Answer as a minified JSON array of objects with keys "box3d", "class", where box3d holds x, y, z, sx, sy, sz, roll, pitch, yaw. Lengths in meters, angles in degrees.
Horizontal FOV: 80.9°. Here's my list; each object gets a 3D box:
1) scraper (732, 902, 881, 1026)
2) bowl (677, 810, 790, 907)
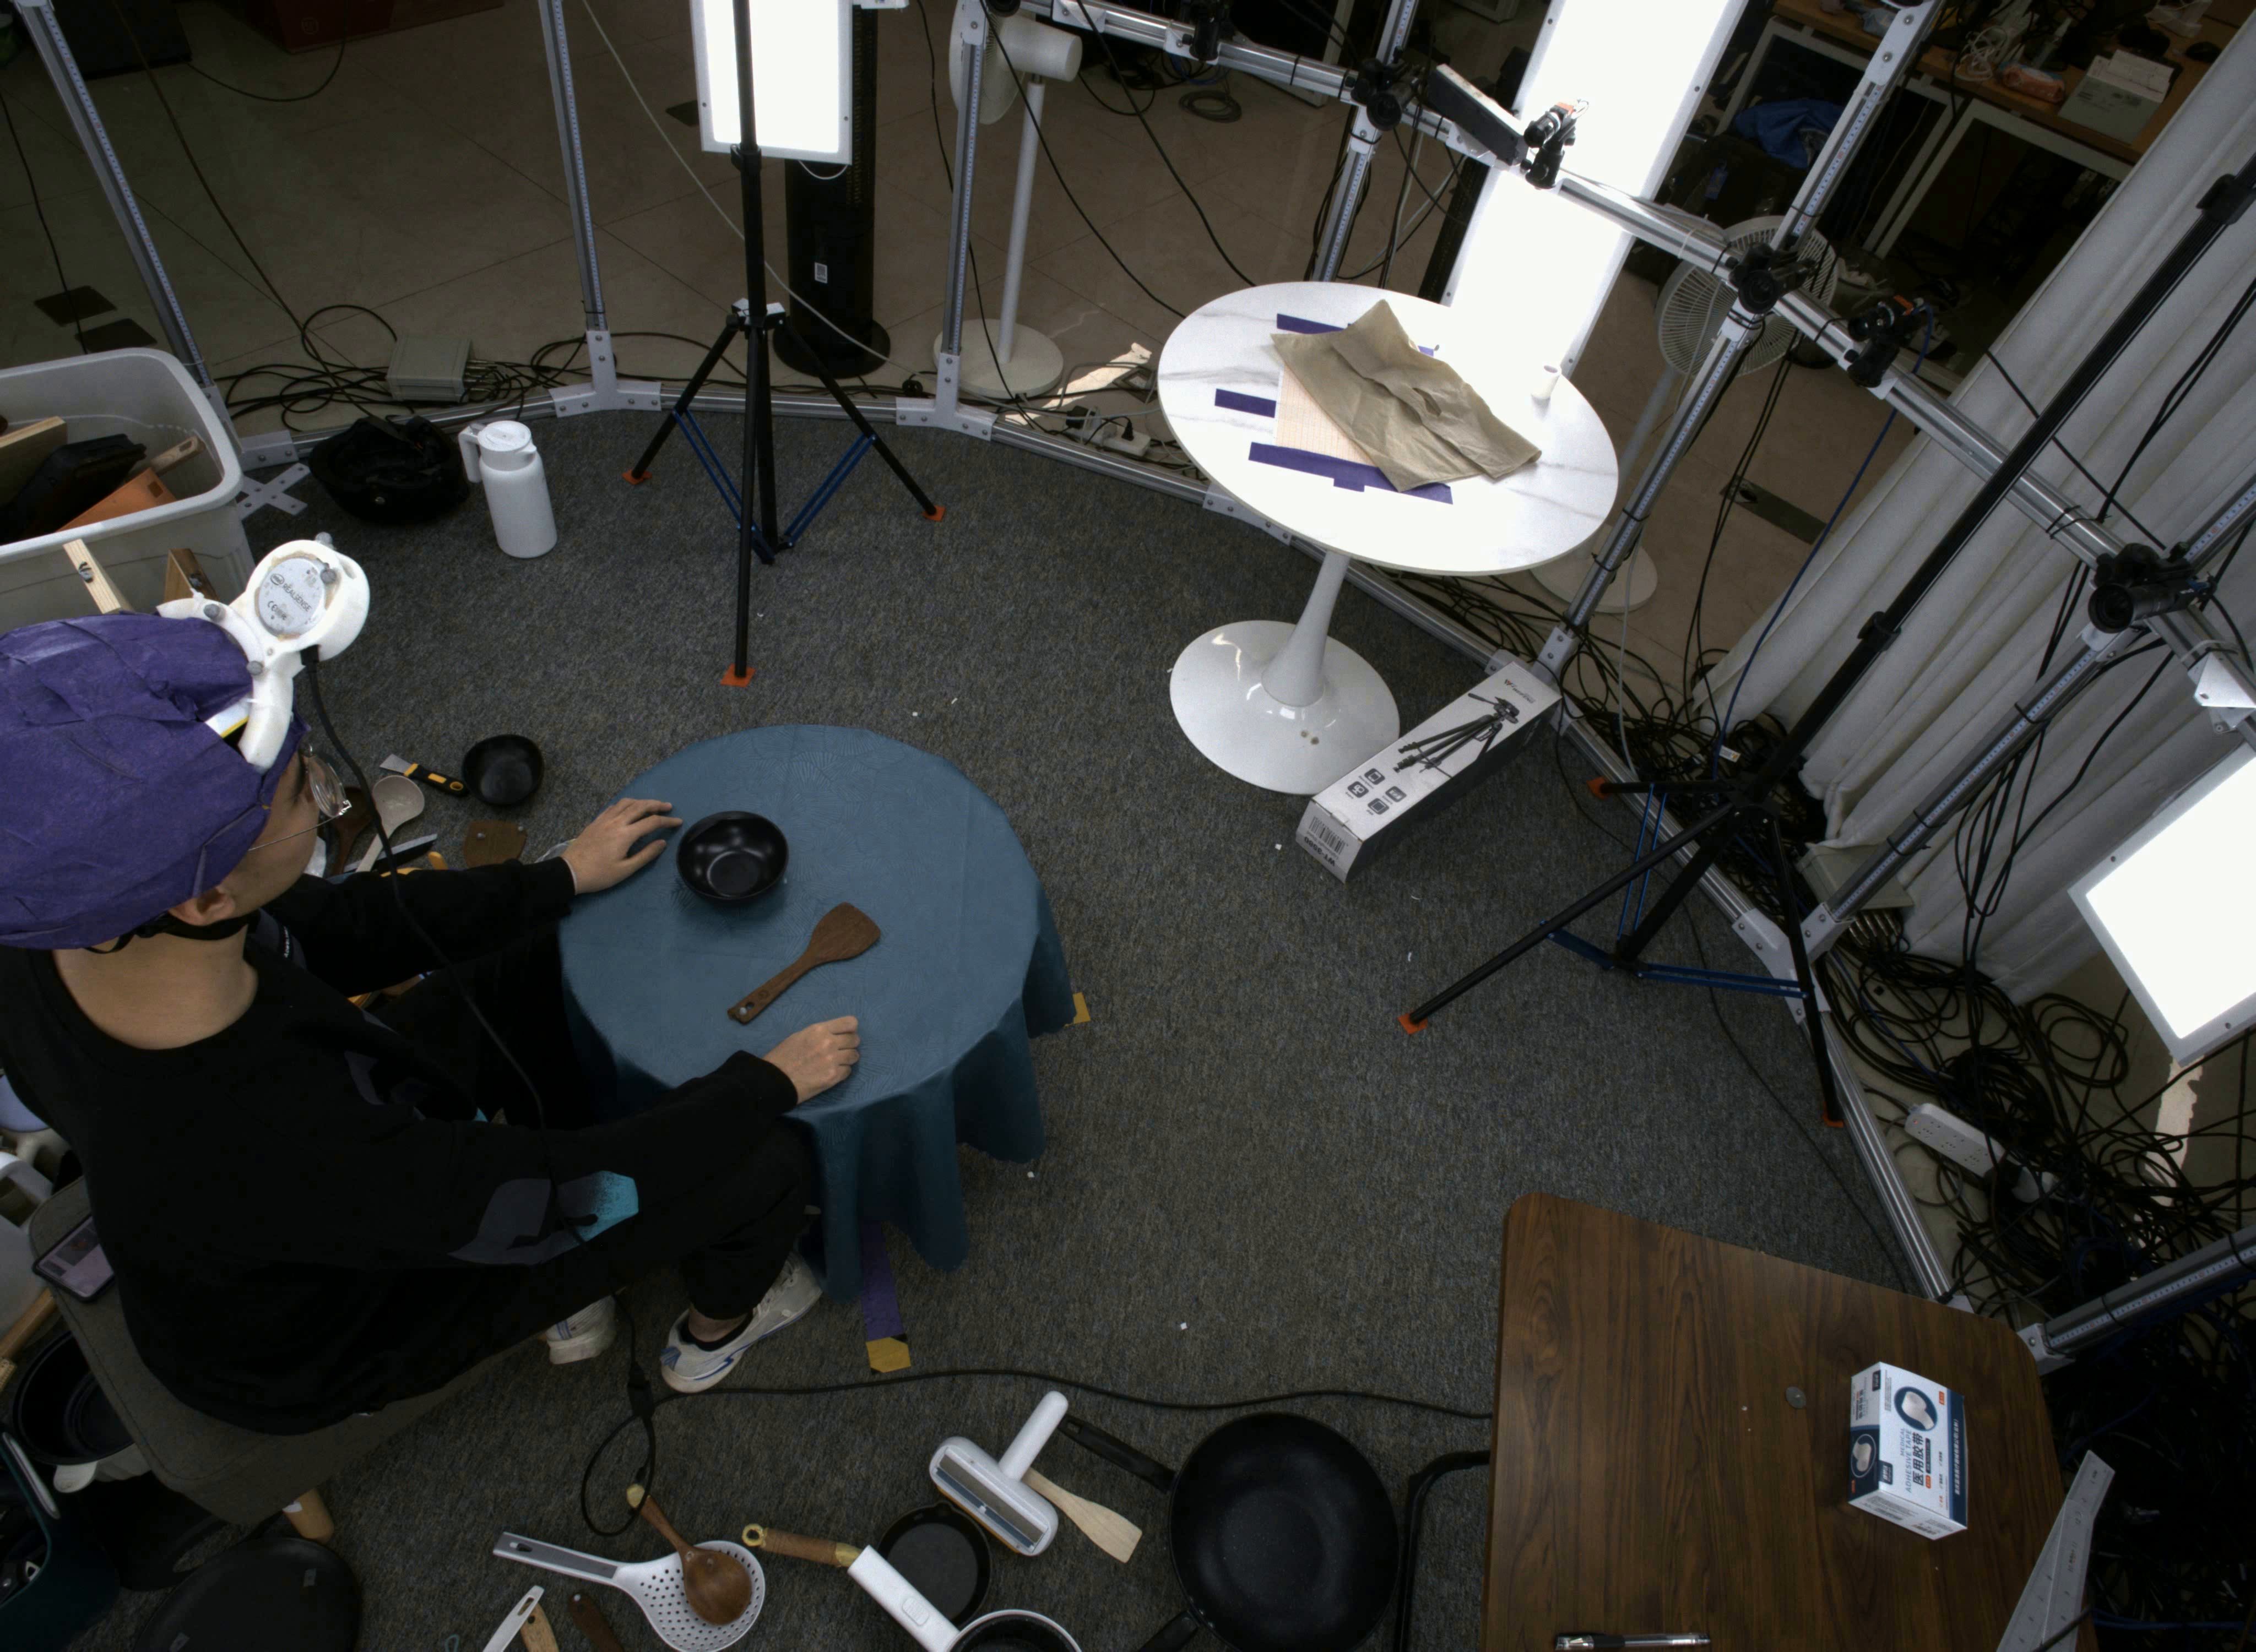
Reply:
[{"box3d":[-0.401,0.172,1.602,0.074,0.011,0.211,38,55,16],"class":"scraper"},{"box3d":[-0.500,0.048,1.643,0.140,0.050,0.138,8,55,-10],"class":"bowl"}]
